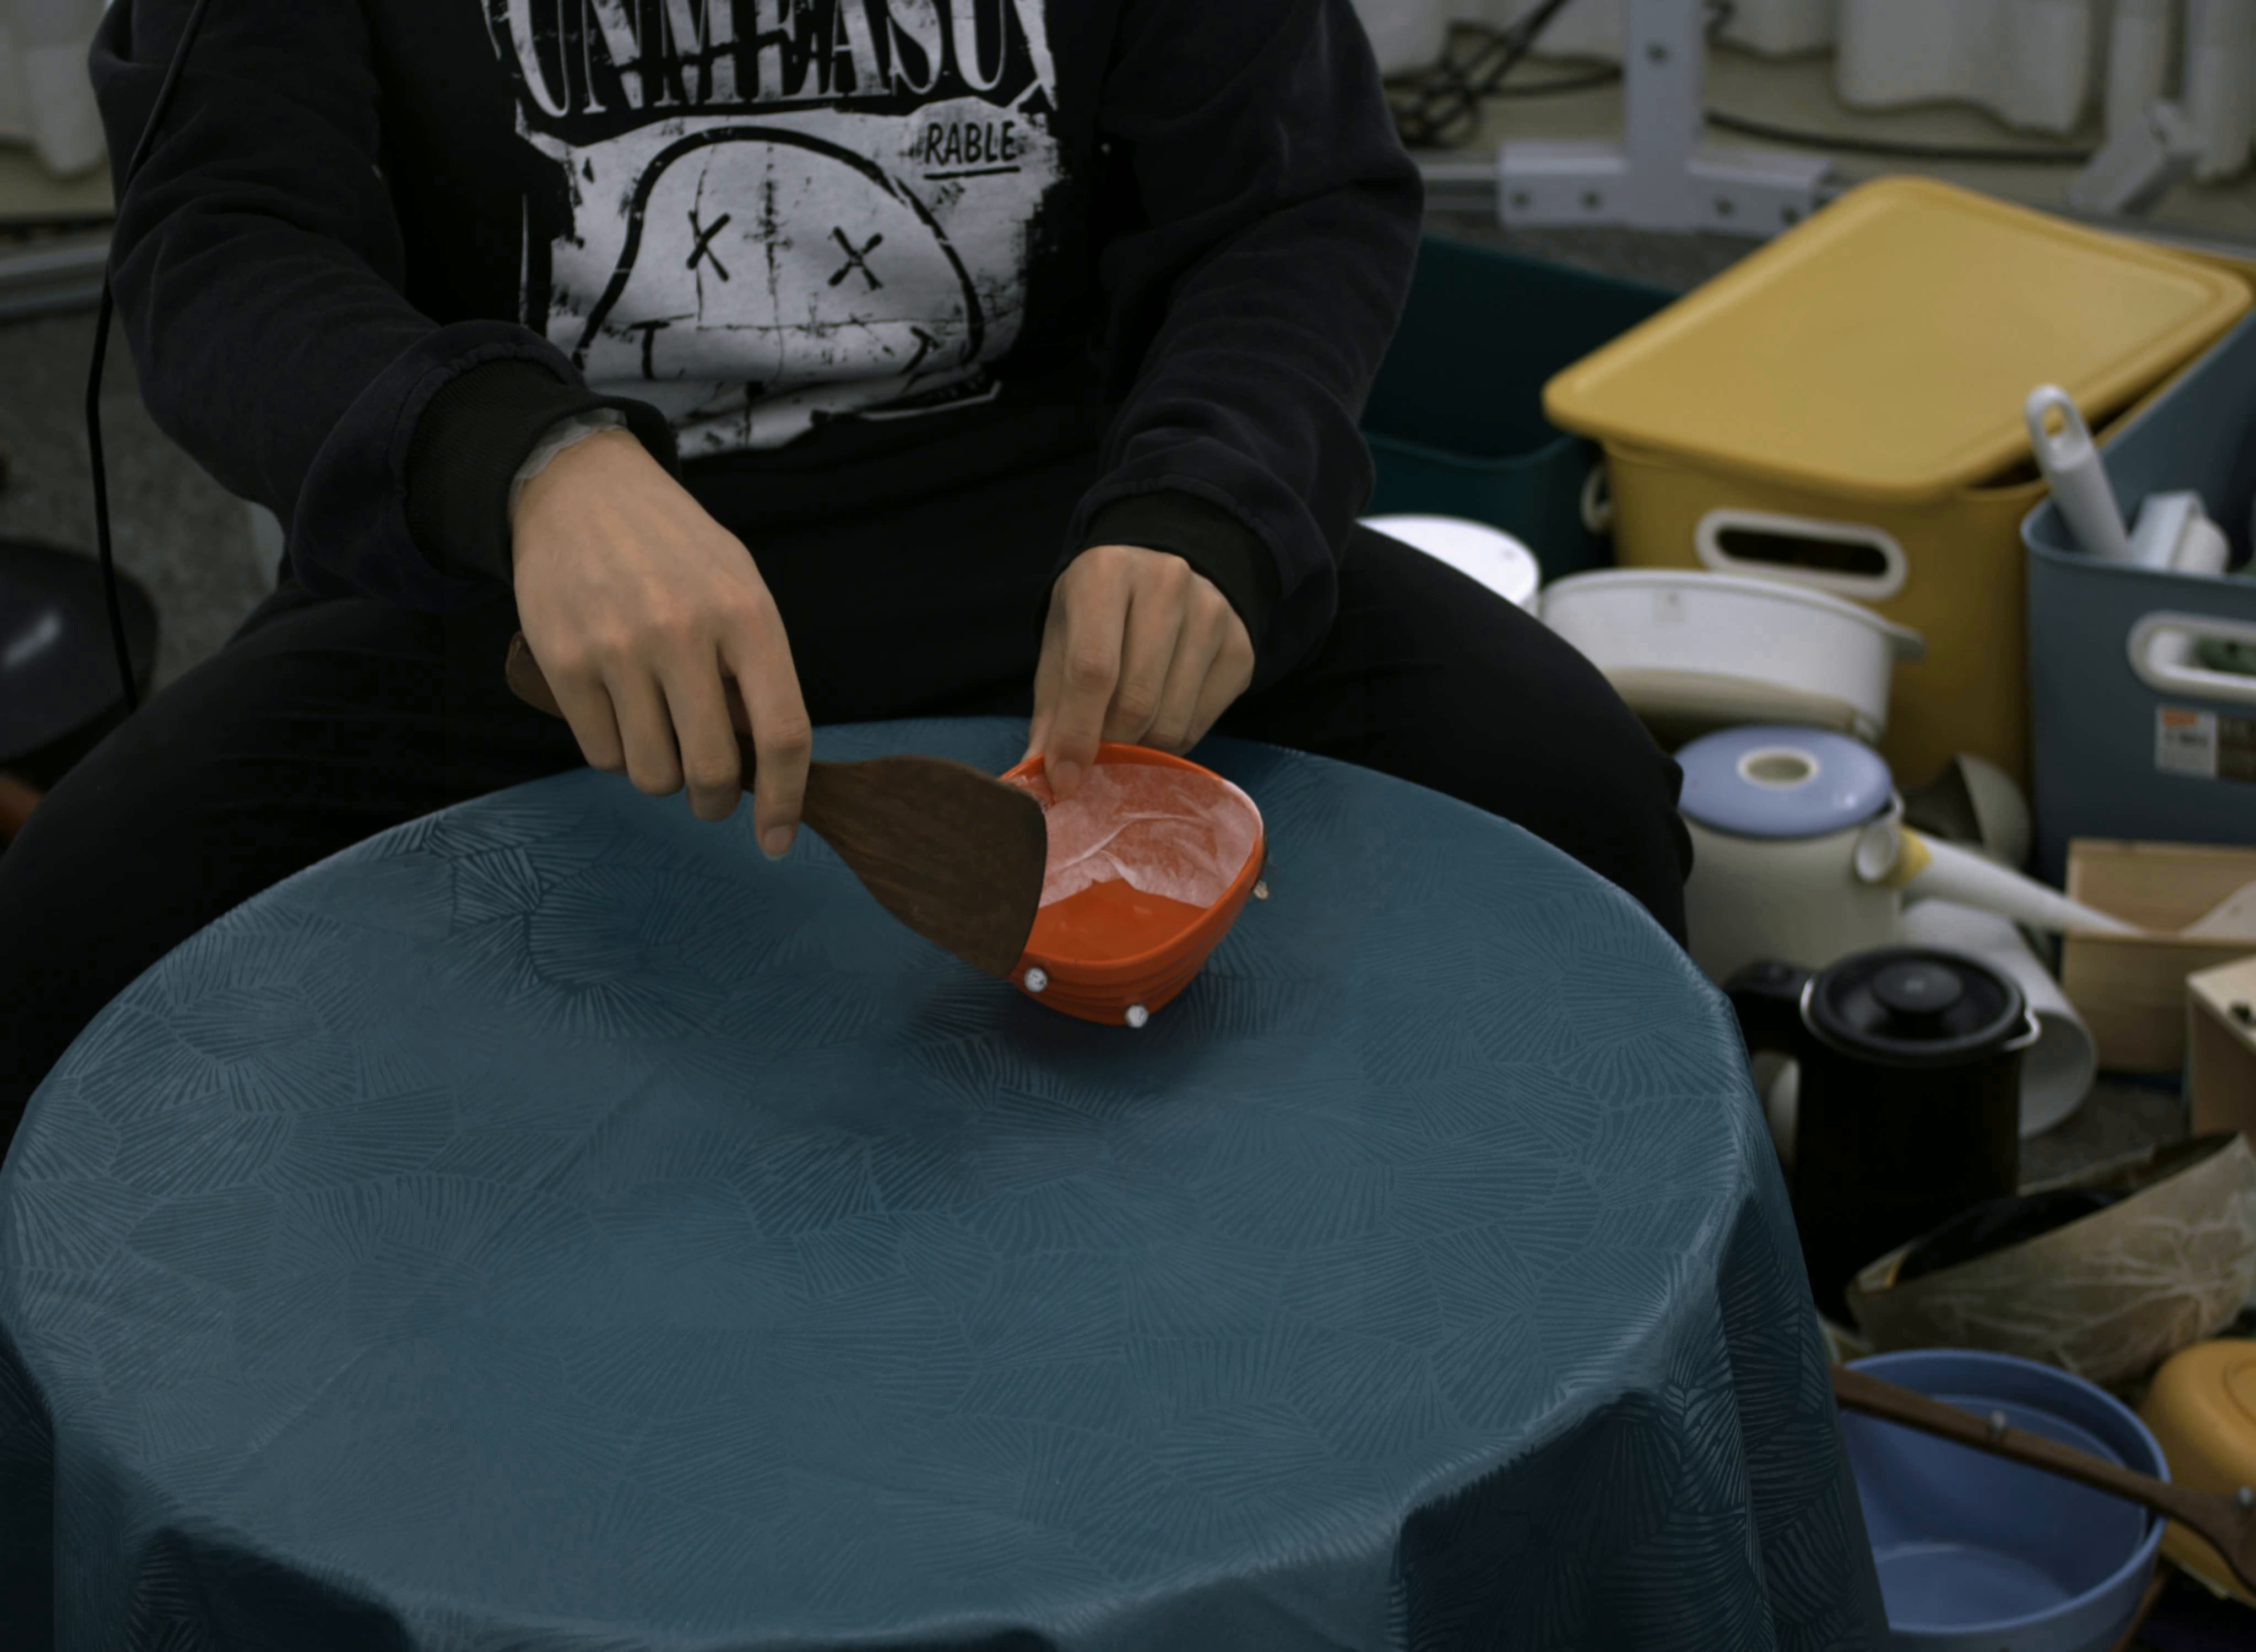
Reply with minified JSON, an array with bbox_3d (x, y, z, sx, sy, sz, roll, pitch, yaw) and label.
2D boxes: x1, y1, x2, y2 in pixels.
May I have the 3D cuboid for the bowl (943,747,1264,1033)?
[{"bbox_3d":[-0.008,0.029,1.971,0.118,0.050,0.121,-5,41,5],"label":"bowl"}]

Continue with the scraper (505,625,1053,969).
[{"bbox_3d":[-0.120,-0.020,1.912,0.211,0.075,0.011,23,31,14],"label":"scraper"}]
